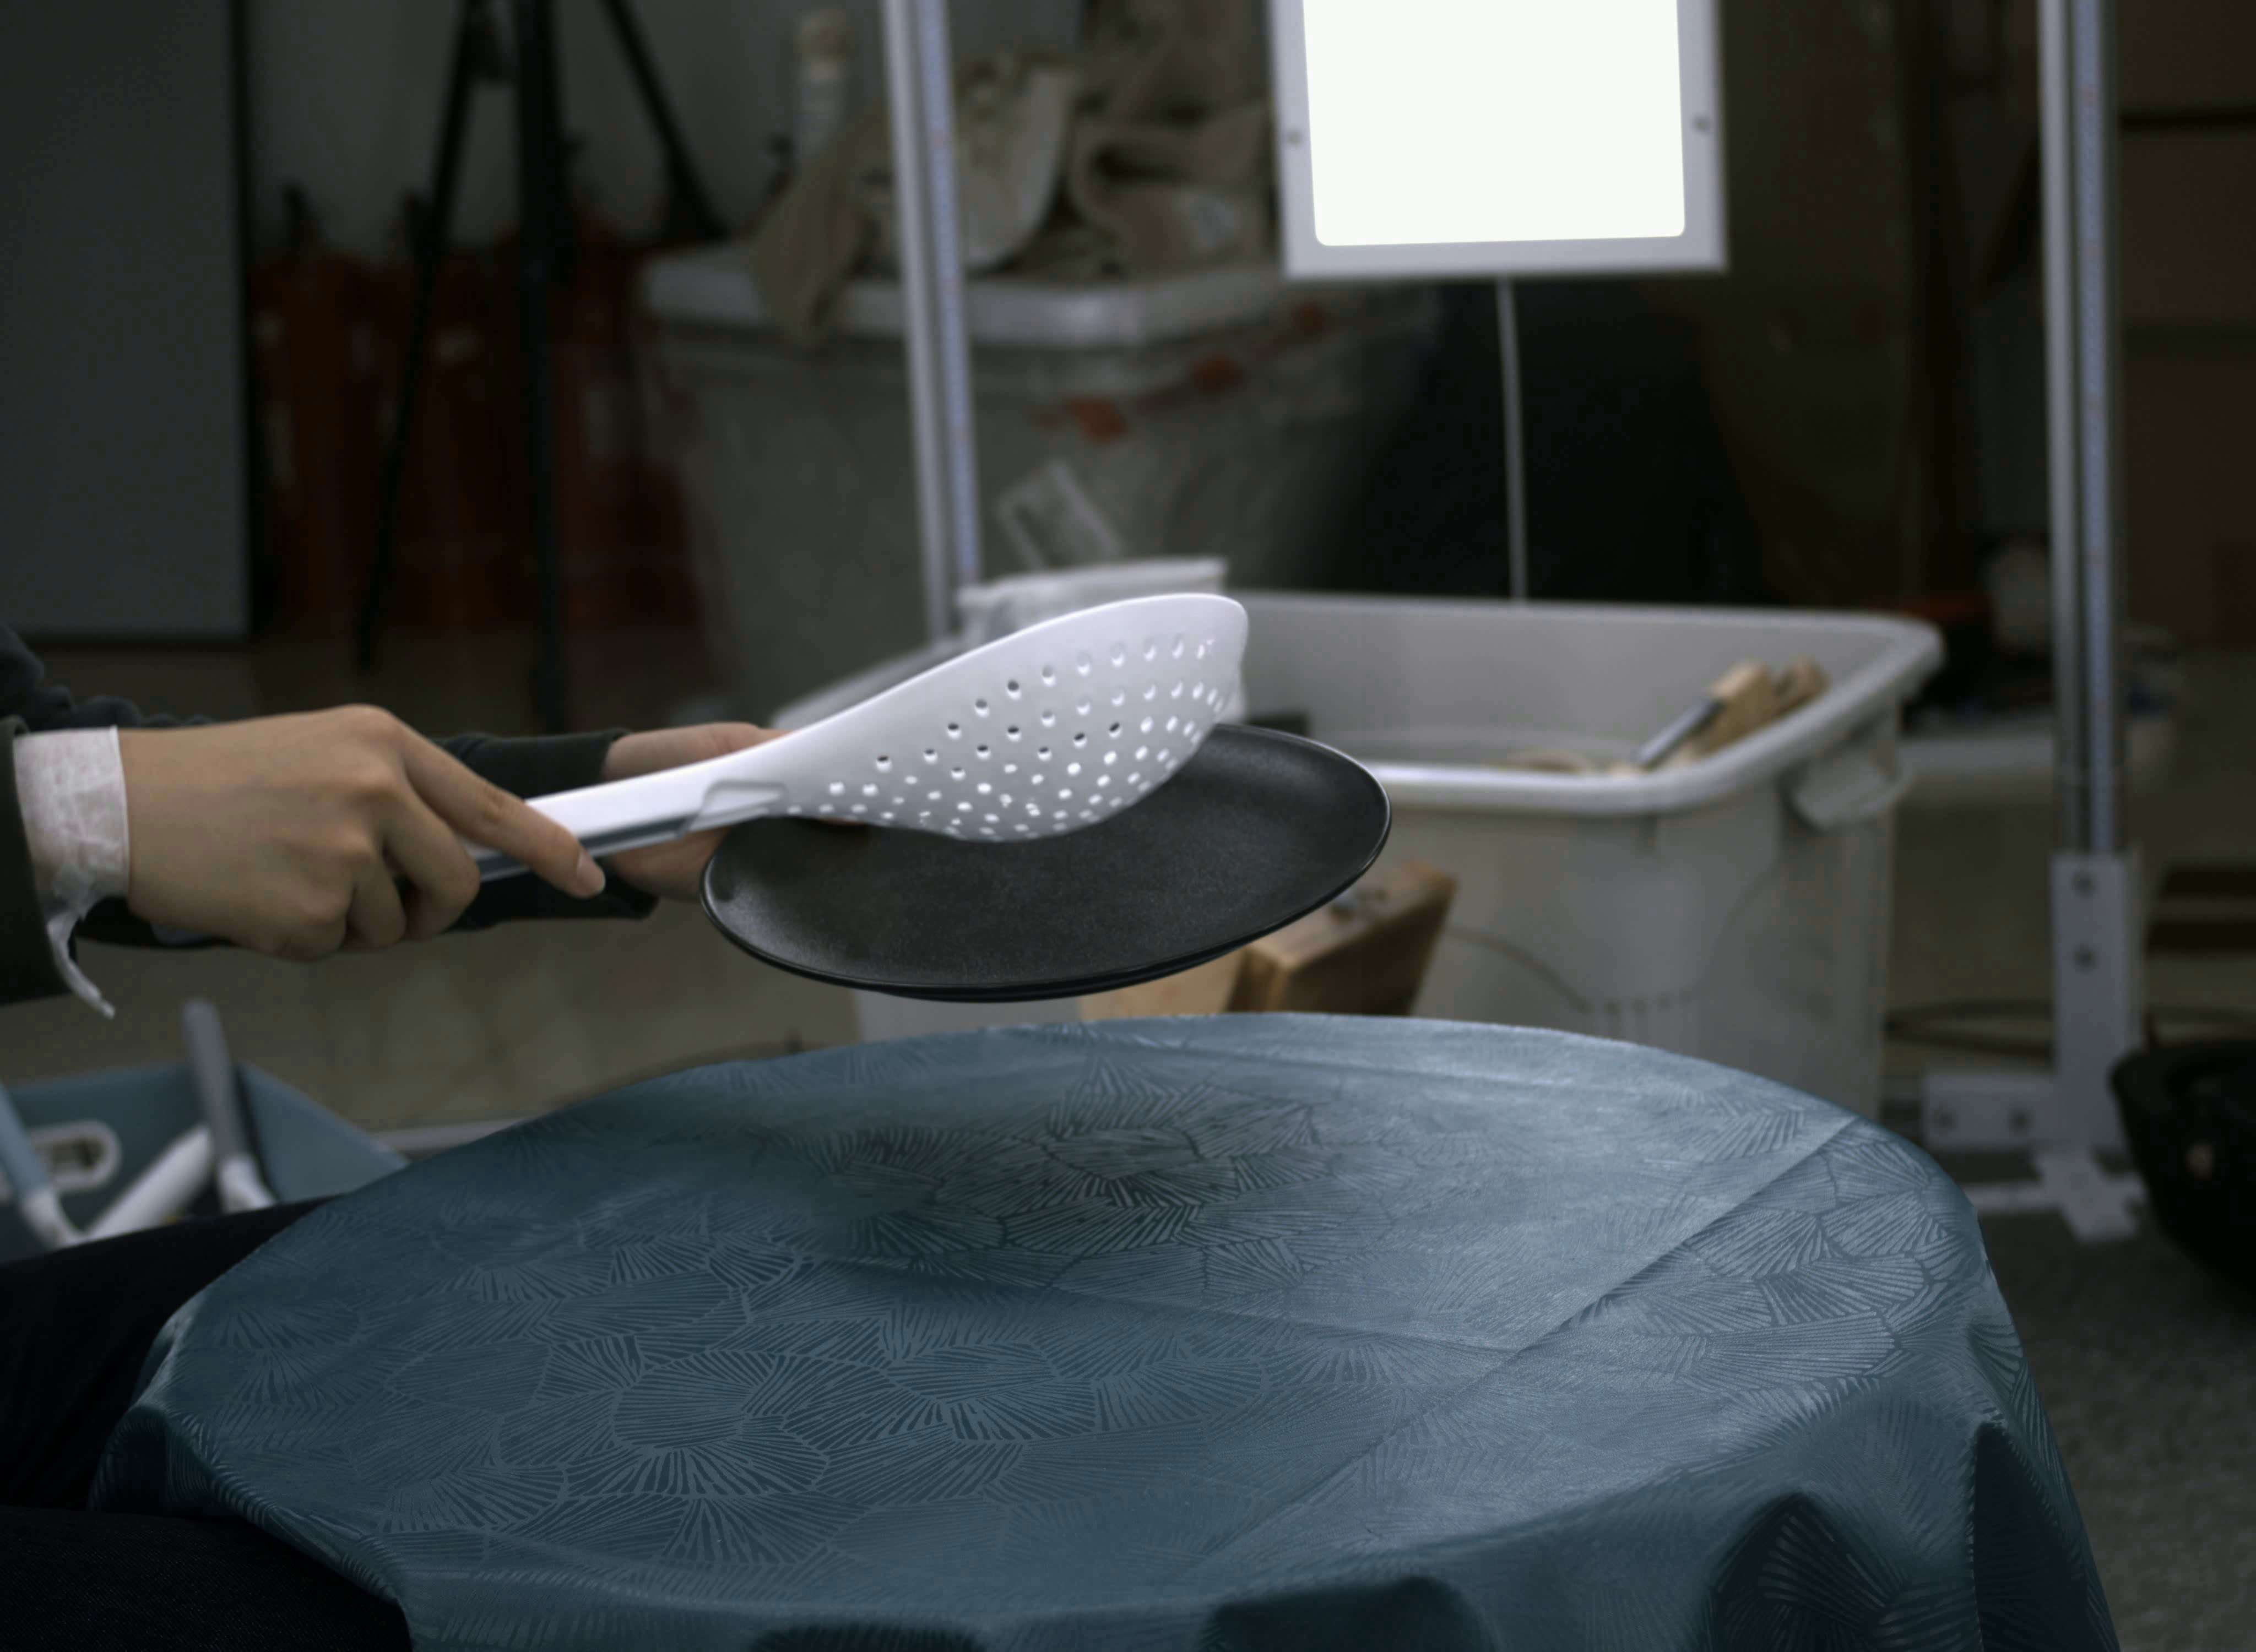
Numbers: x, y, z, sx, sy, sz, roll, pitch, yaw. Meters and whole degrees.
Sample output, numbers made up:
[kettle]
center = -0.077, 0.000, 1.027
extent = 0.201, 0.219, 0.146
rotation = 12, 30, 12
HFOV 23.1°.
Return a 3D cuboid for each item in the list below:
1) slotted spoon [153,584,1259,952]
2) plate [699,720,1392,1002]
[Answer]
[slotted spoon]
center = -0.117, -0.011, 1.624
extent = 0.343, 0.046, 0.138
rotation = -8, -21, -20
[plate]
center = -0.028, 0.015, 1.917
extent = 0.244, 0.023, 0.244
rotation = -7, 21, 1
